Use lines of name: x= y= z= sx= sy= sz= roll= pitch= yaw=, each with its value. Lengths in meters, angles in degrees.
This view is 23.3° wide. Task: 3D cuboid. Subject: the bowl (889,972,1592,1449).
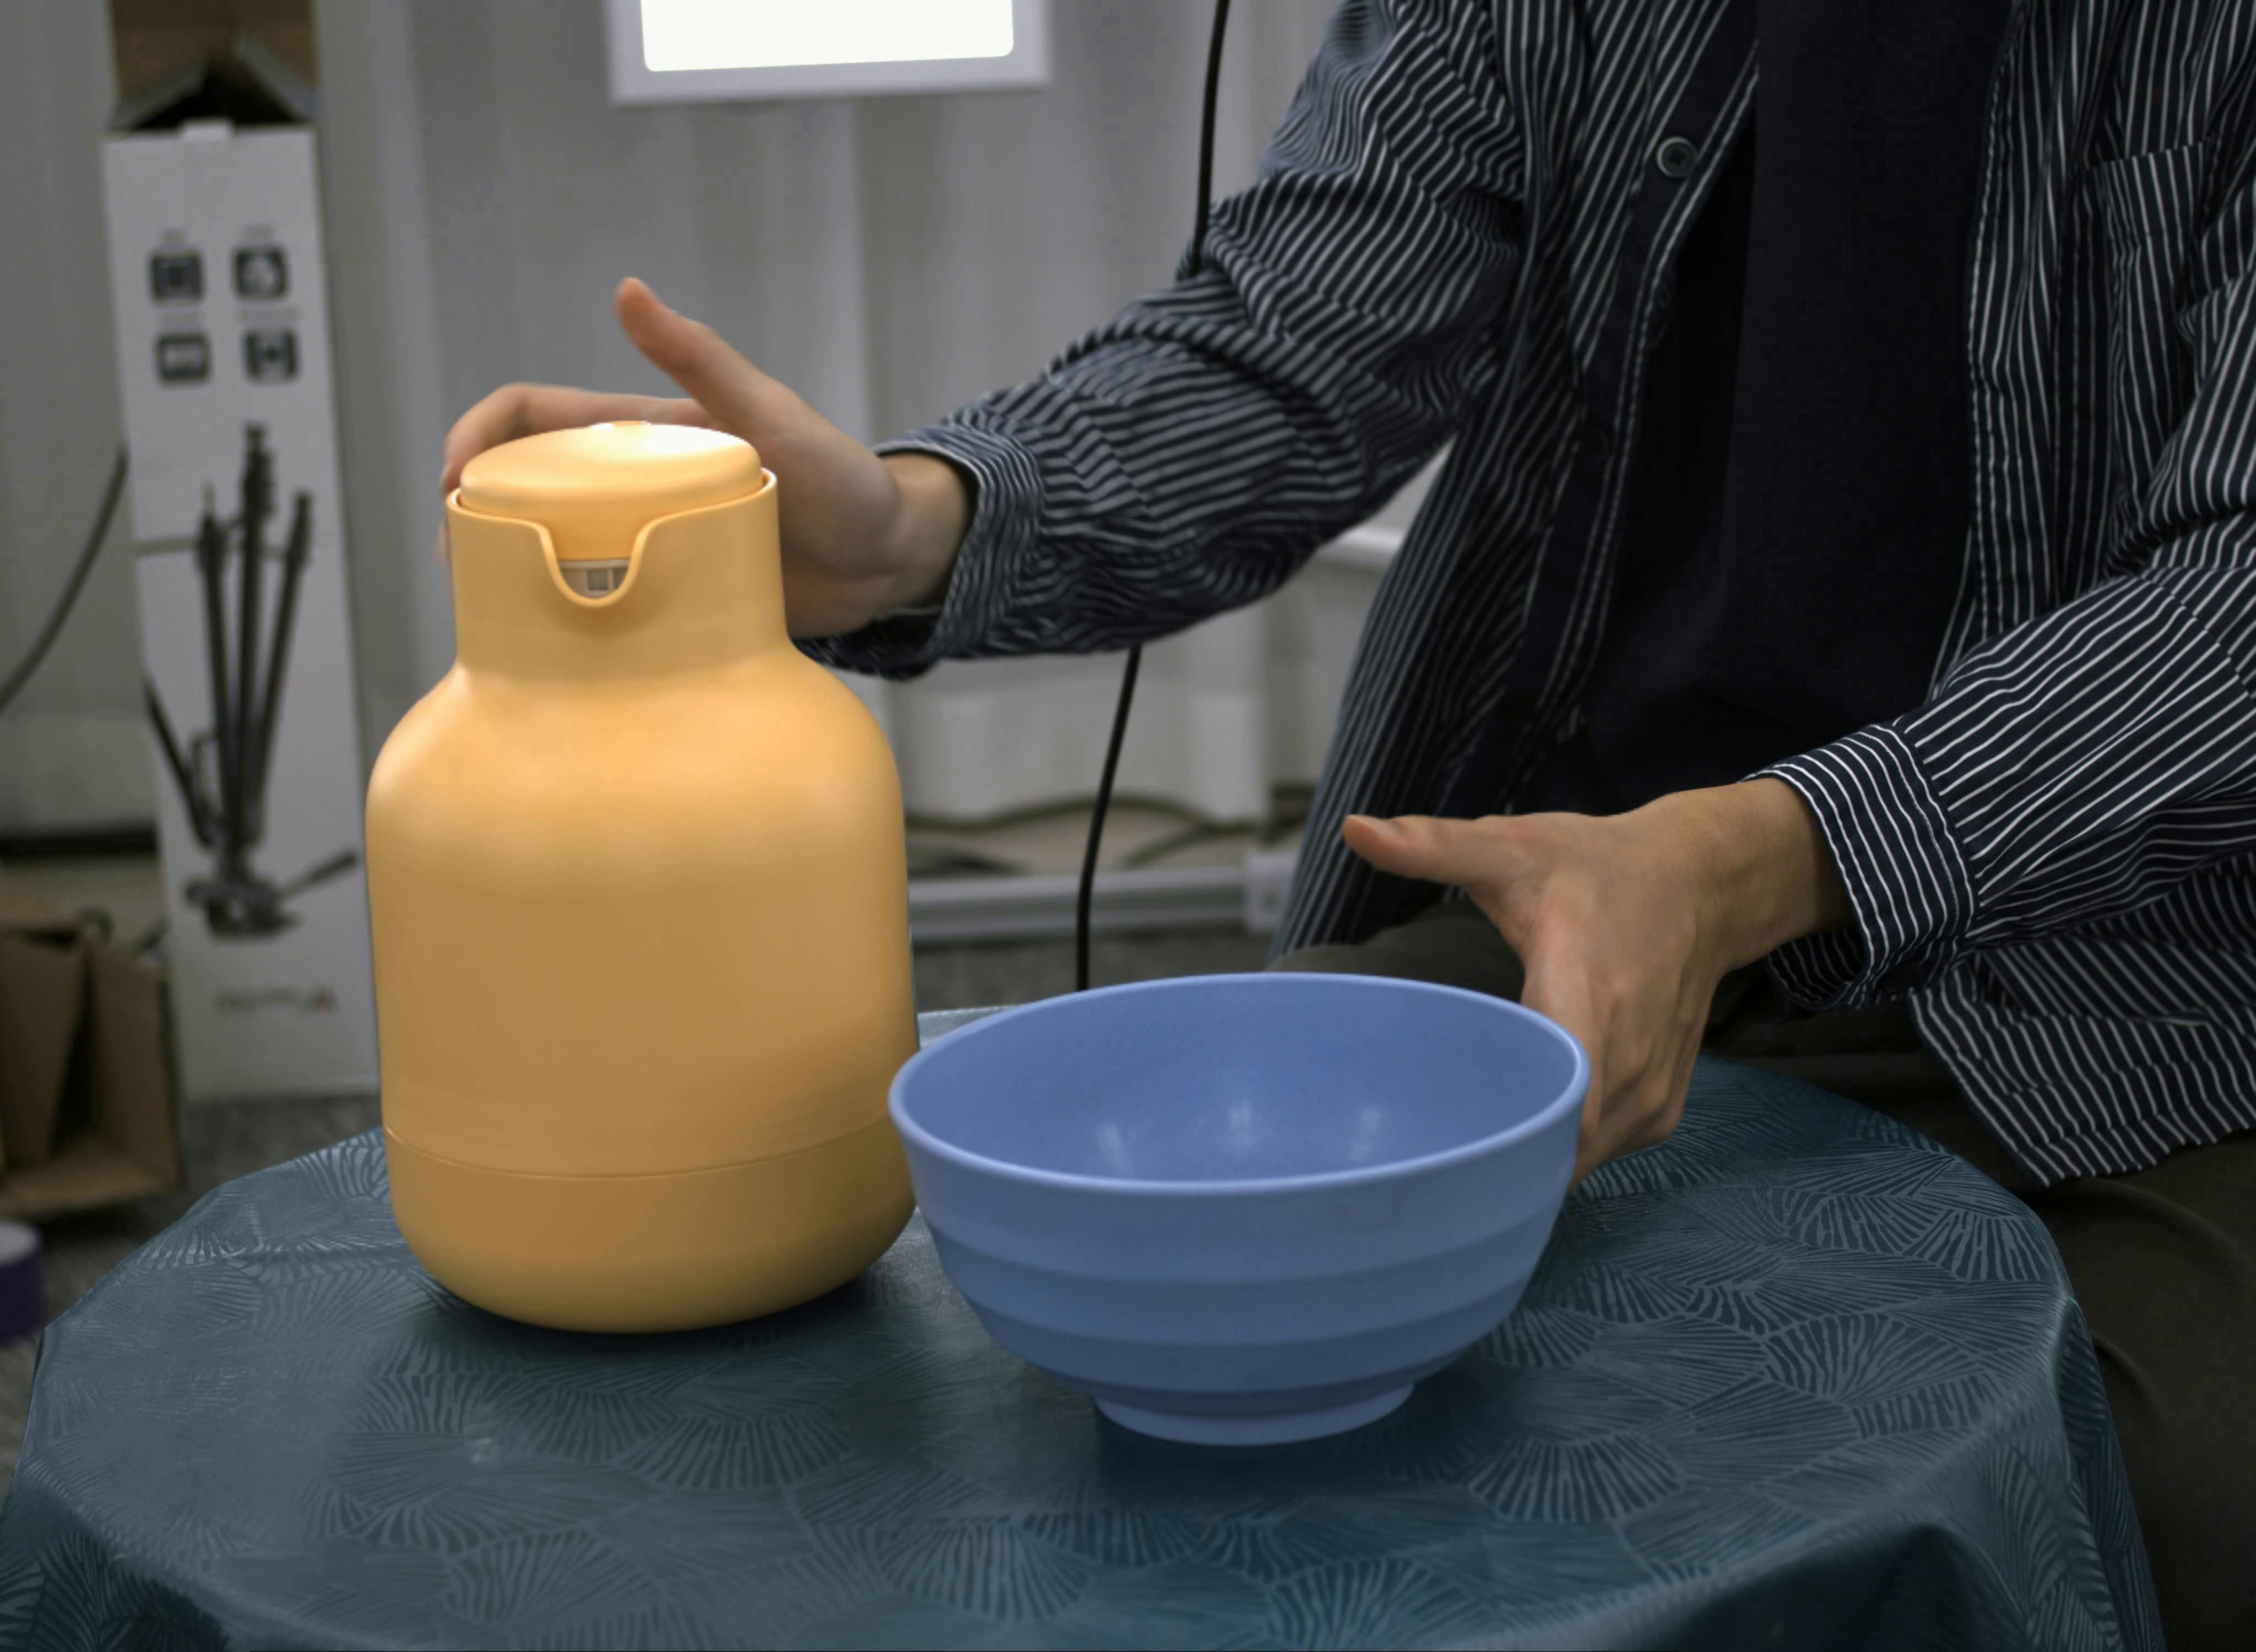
bowl: x=0.033 y=0.114 z=1.532 sx=0.196 sy=0.095 sz=0.198 roll=-3 pitch=15 yaw=1

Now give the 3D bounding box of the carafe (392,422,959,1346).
carafe: x=-0.135 y=0.009 z=1.640 sx=0.163 sy=0.259 sz=0.204 roll=-3 pitch=13 yaw=0
